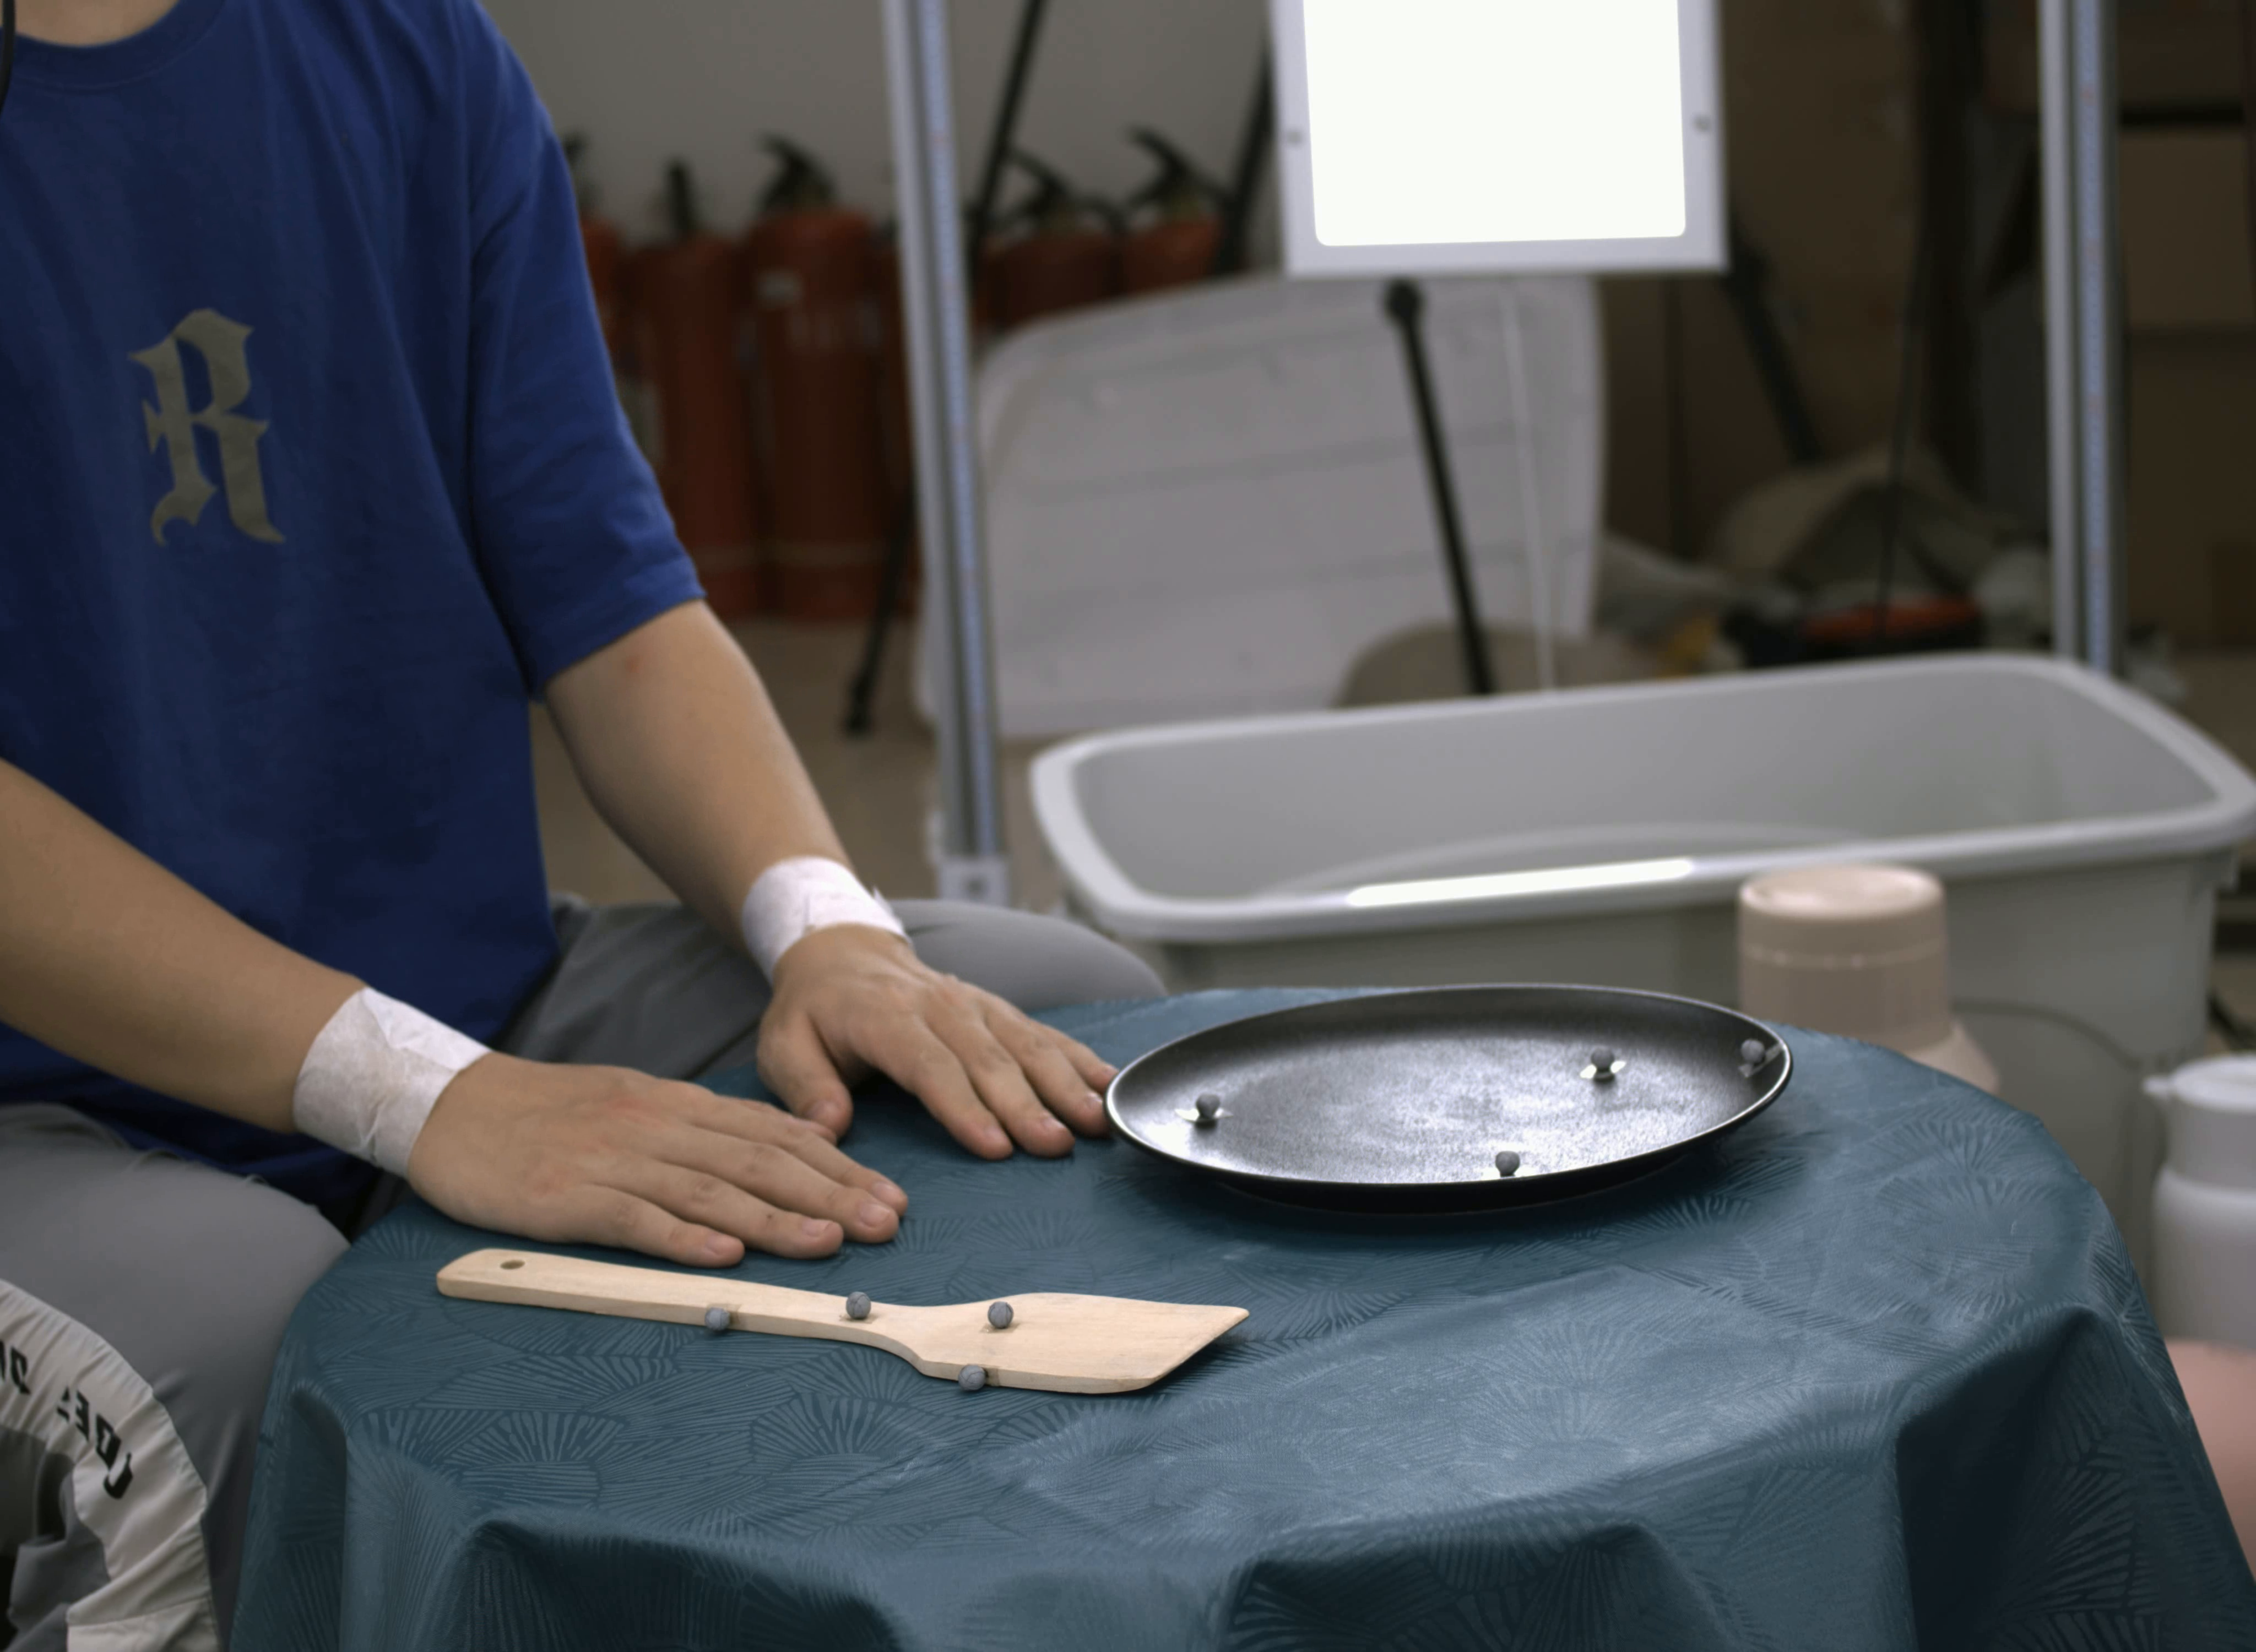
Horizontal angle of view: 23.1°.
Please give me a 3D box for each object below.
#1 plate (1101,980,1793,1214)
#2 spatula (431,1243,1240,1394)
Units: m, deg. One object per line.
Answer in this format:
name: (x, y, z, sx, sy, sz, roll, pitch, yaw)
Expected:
plate: (0.112, 0.097, 1.925, 0.244, 0.023, 0.244, -5, 14, 0)
spatula: (-0.105, 0.157, 1.791, 0.298, 0.011, 0.070, 4, 18, 31)
